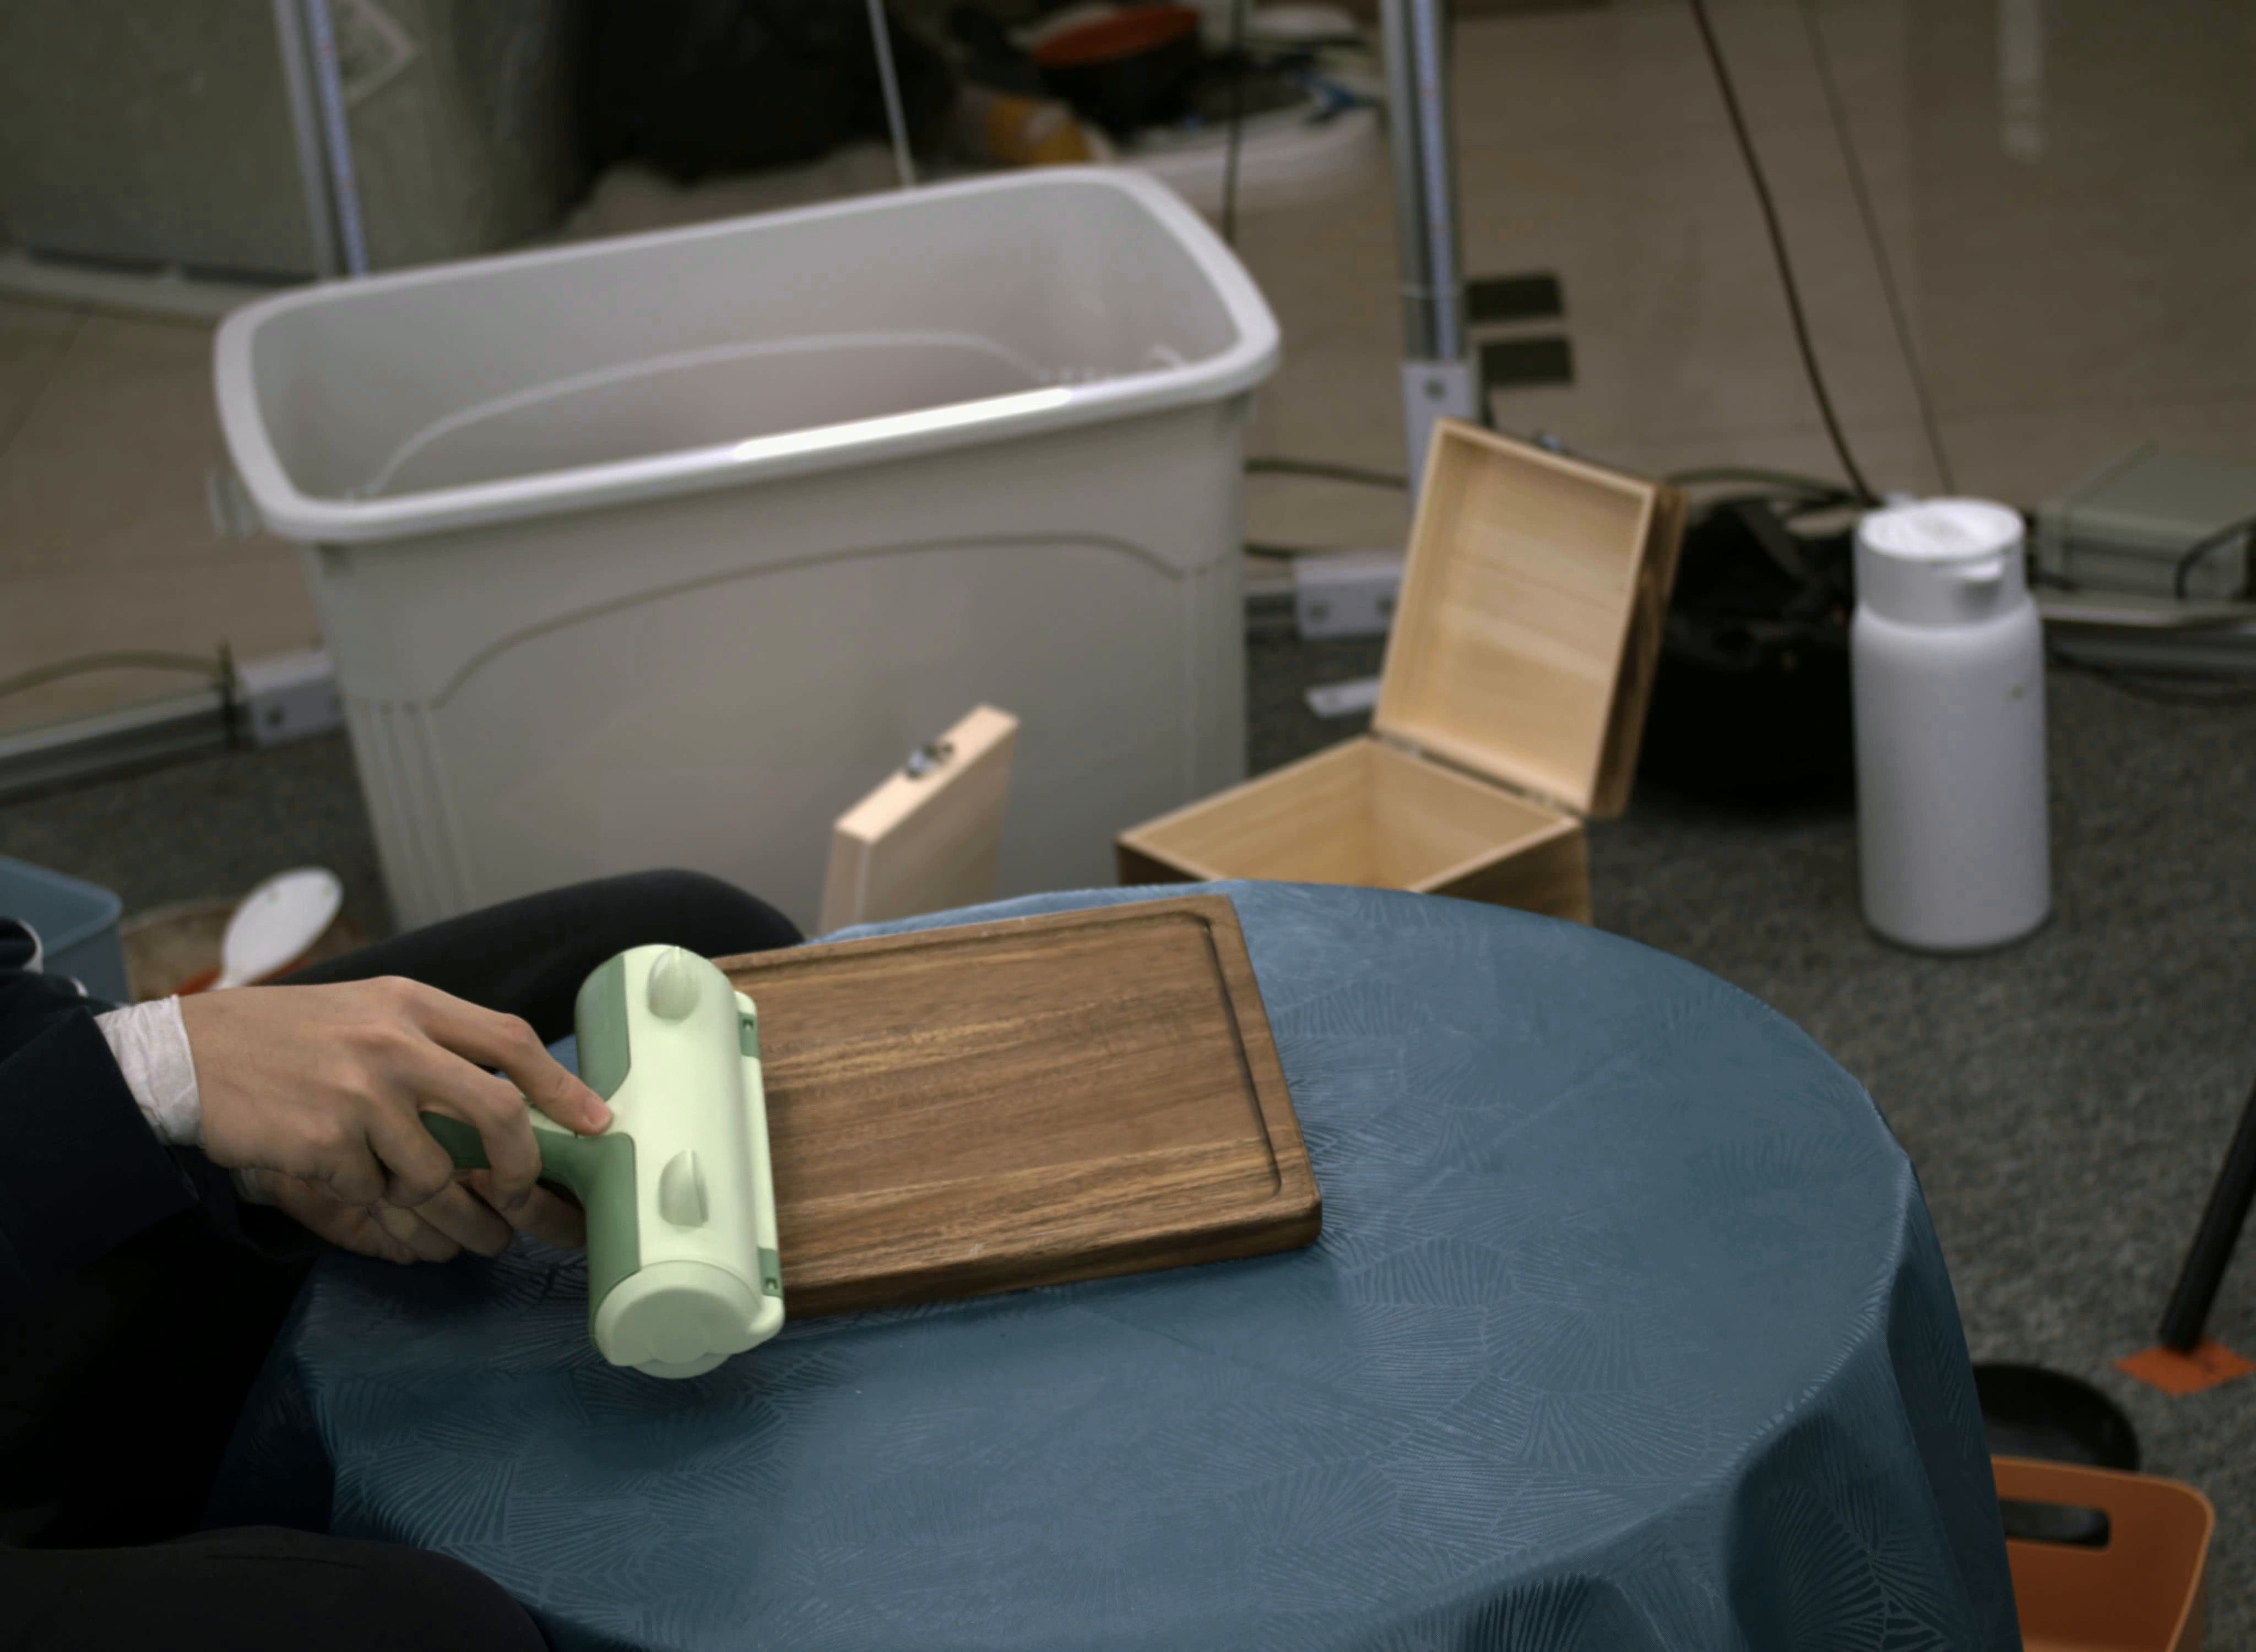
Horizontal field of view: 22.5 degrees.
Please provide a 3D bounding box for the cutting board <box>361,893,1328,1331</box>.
[{"bbox_3d":[-0.114,0.113,2.144,0.351,0.023,0.197,-8,38,-6],"label":"cutting board"}]

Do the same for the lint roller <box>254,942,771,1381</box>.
[{"bbox_3d":[-0.219,0.099,2.052,0.184,0.083,0.195,17,34,-20],"label":"lint roller"}]
